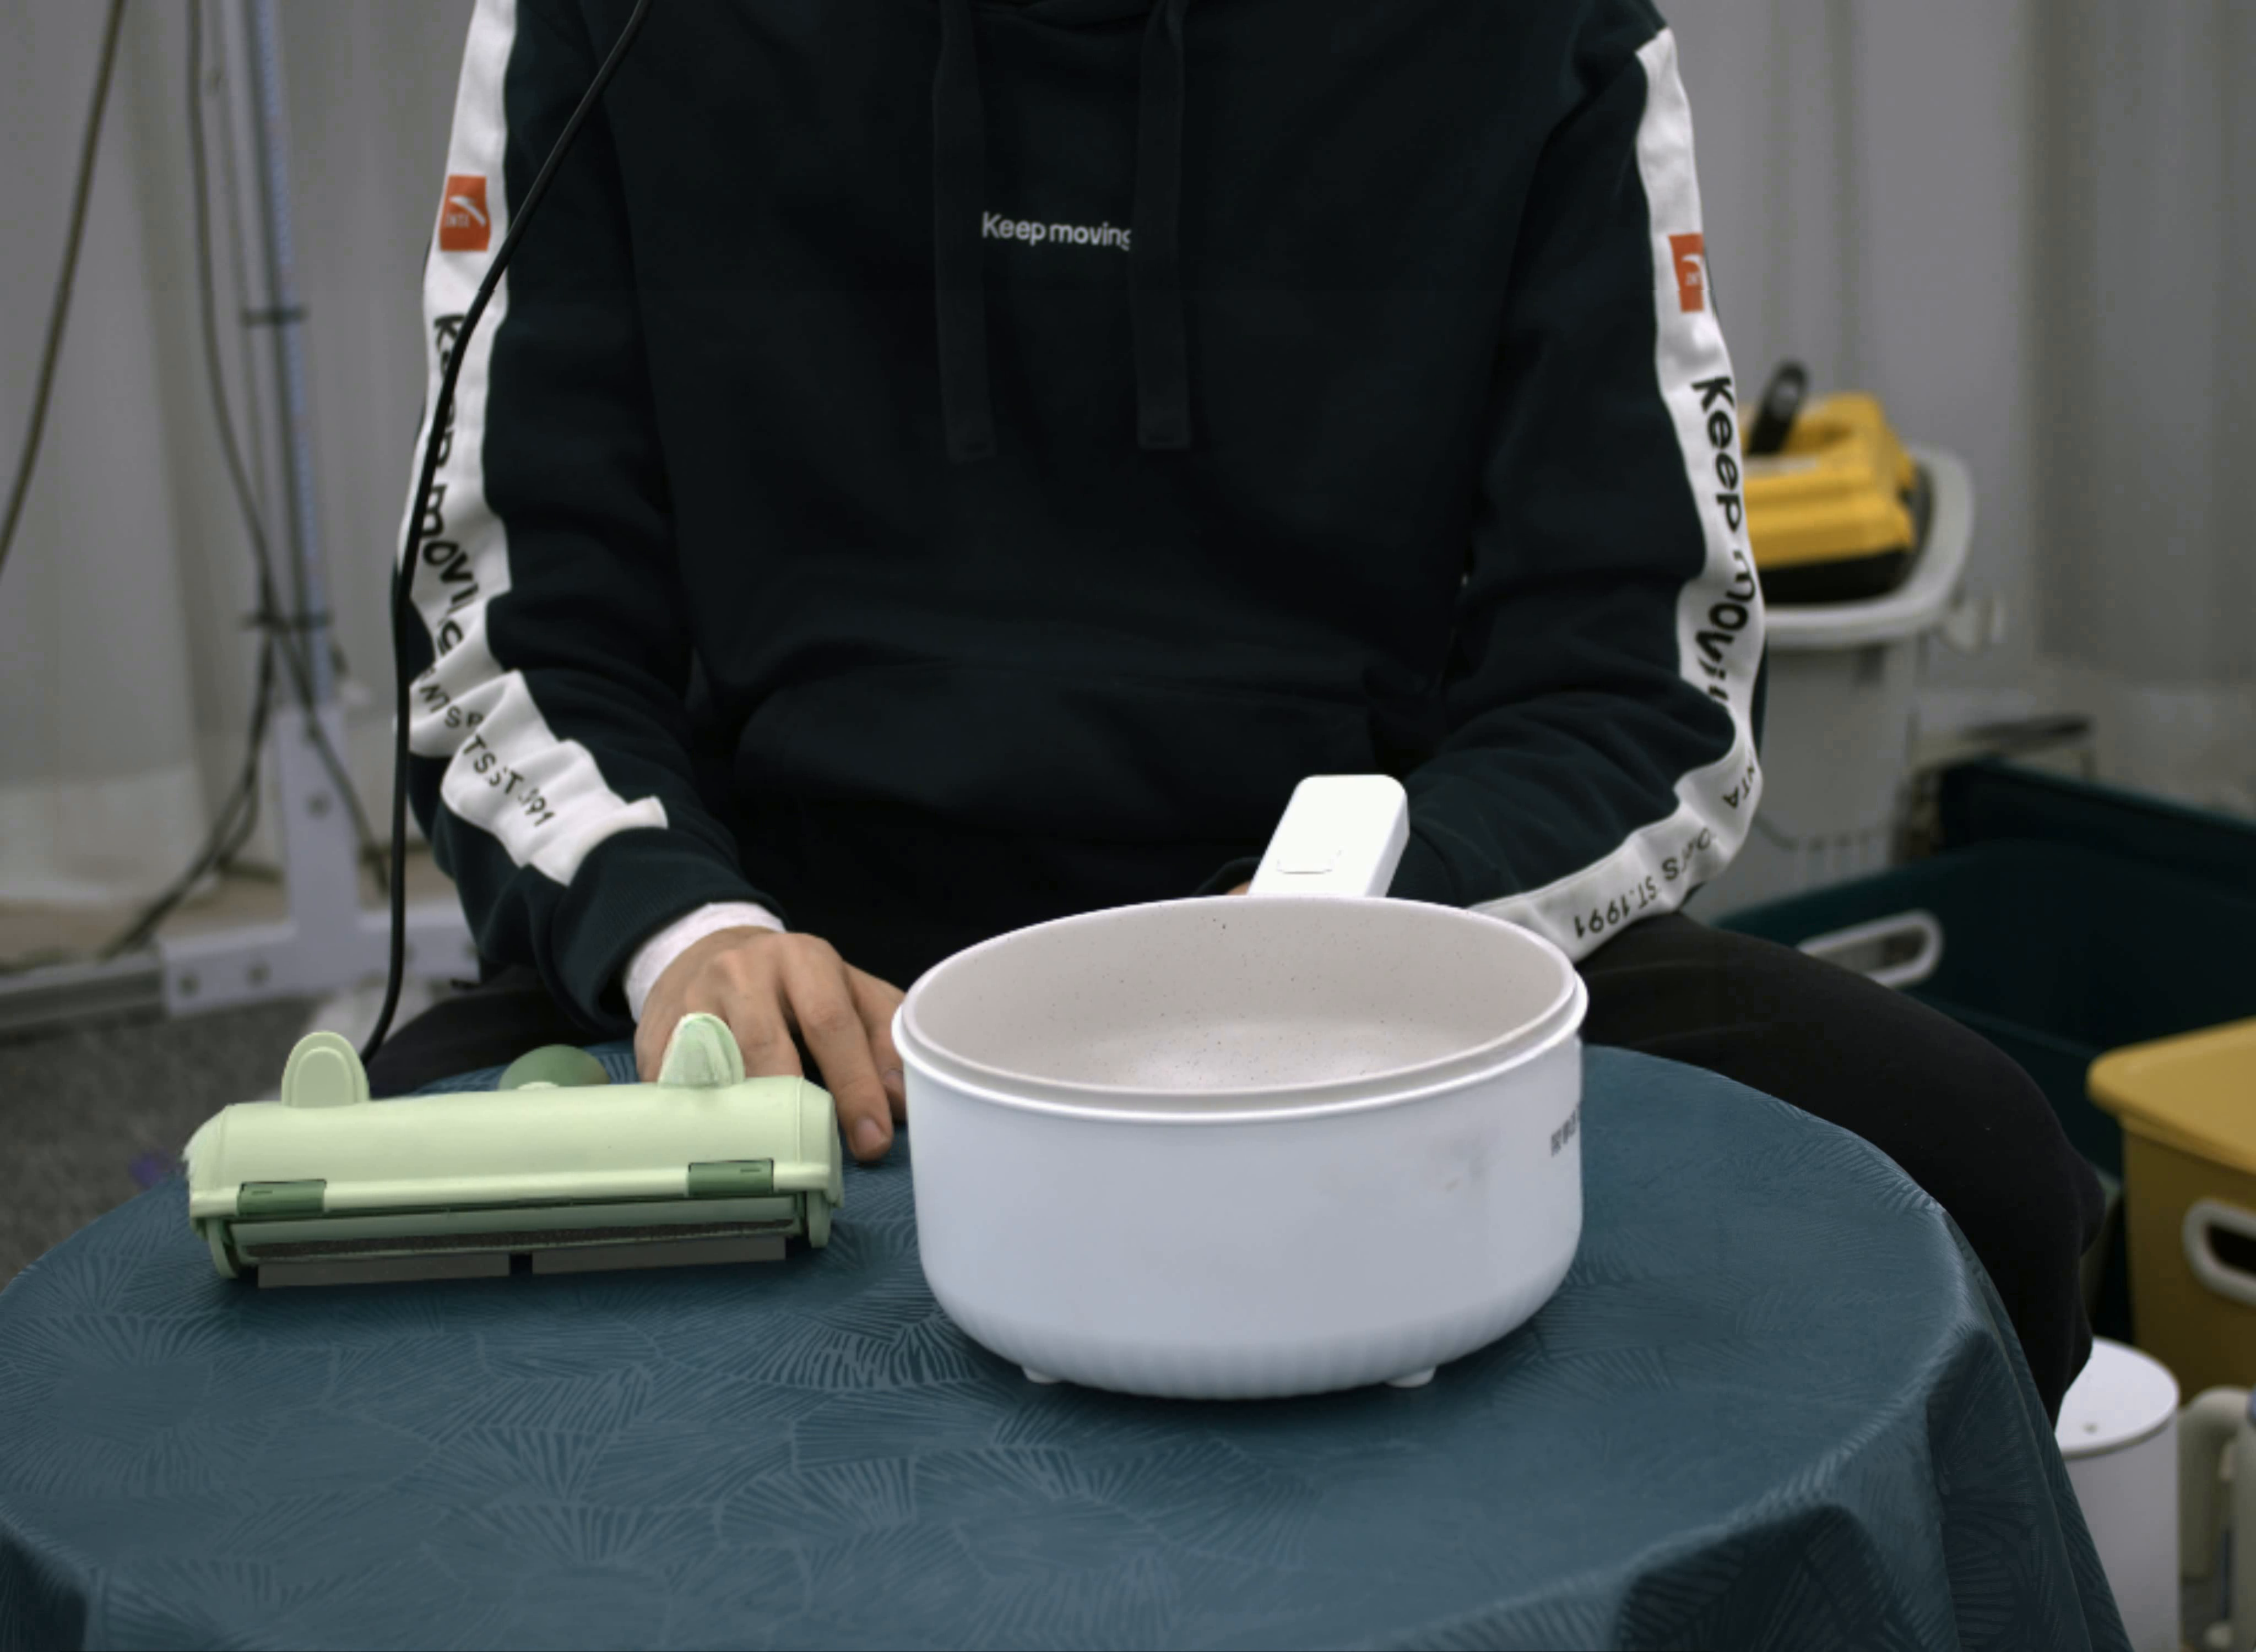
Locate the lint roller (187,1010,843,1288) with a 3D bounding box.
[{"bbox_3d":[-0.188,0.082,1.726,0.198,0.081,0.185,-3,20,1],"label":"lint roller"}]

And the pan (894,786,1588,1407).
[{"bbox_3d":[0.049,0.077,1.660,0.201,0.102,0.356,-2,14,11],"label":"pan"}]
